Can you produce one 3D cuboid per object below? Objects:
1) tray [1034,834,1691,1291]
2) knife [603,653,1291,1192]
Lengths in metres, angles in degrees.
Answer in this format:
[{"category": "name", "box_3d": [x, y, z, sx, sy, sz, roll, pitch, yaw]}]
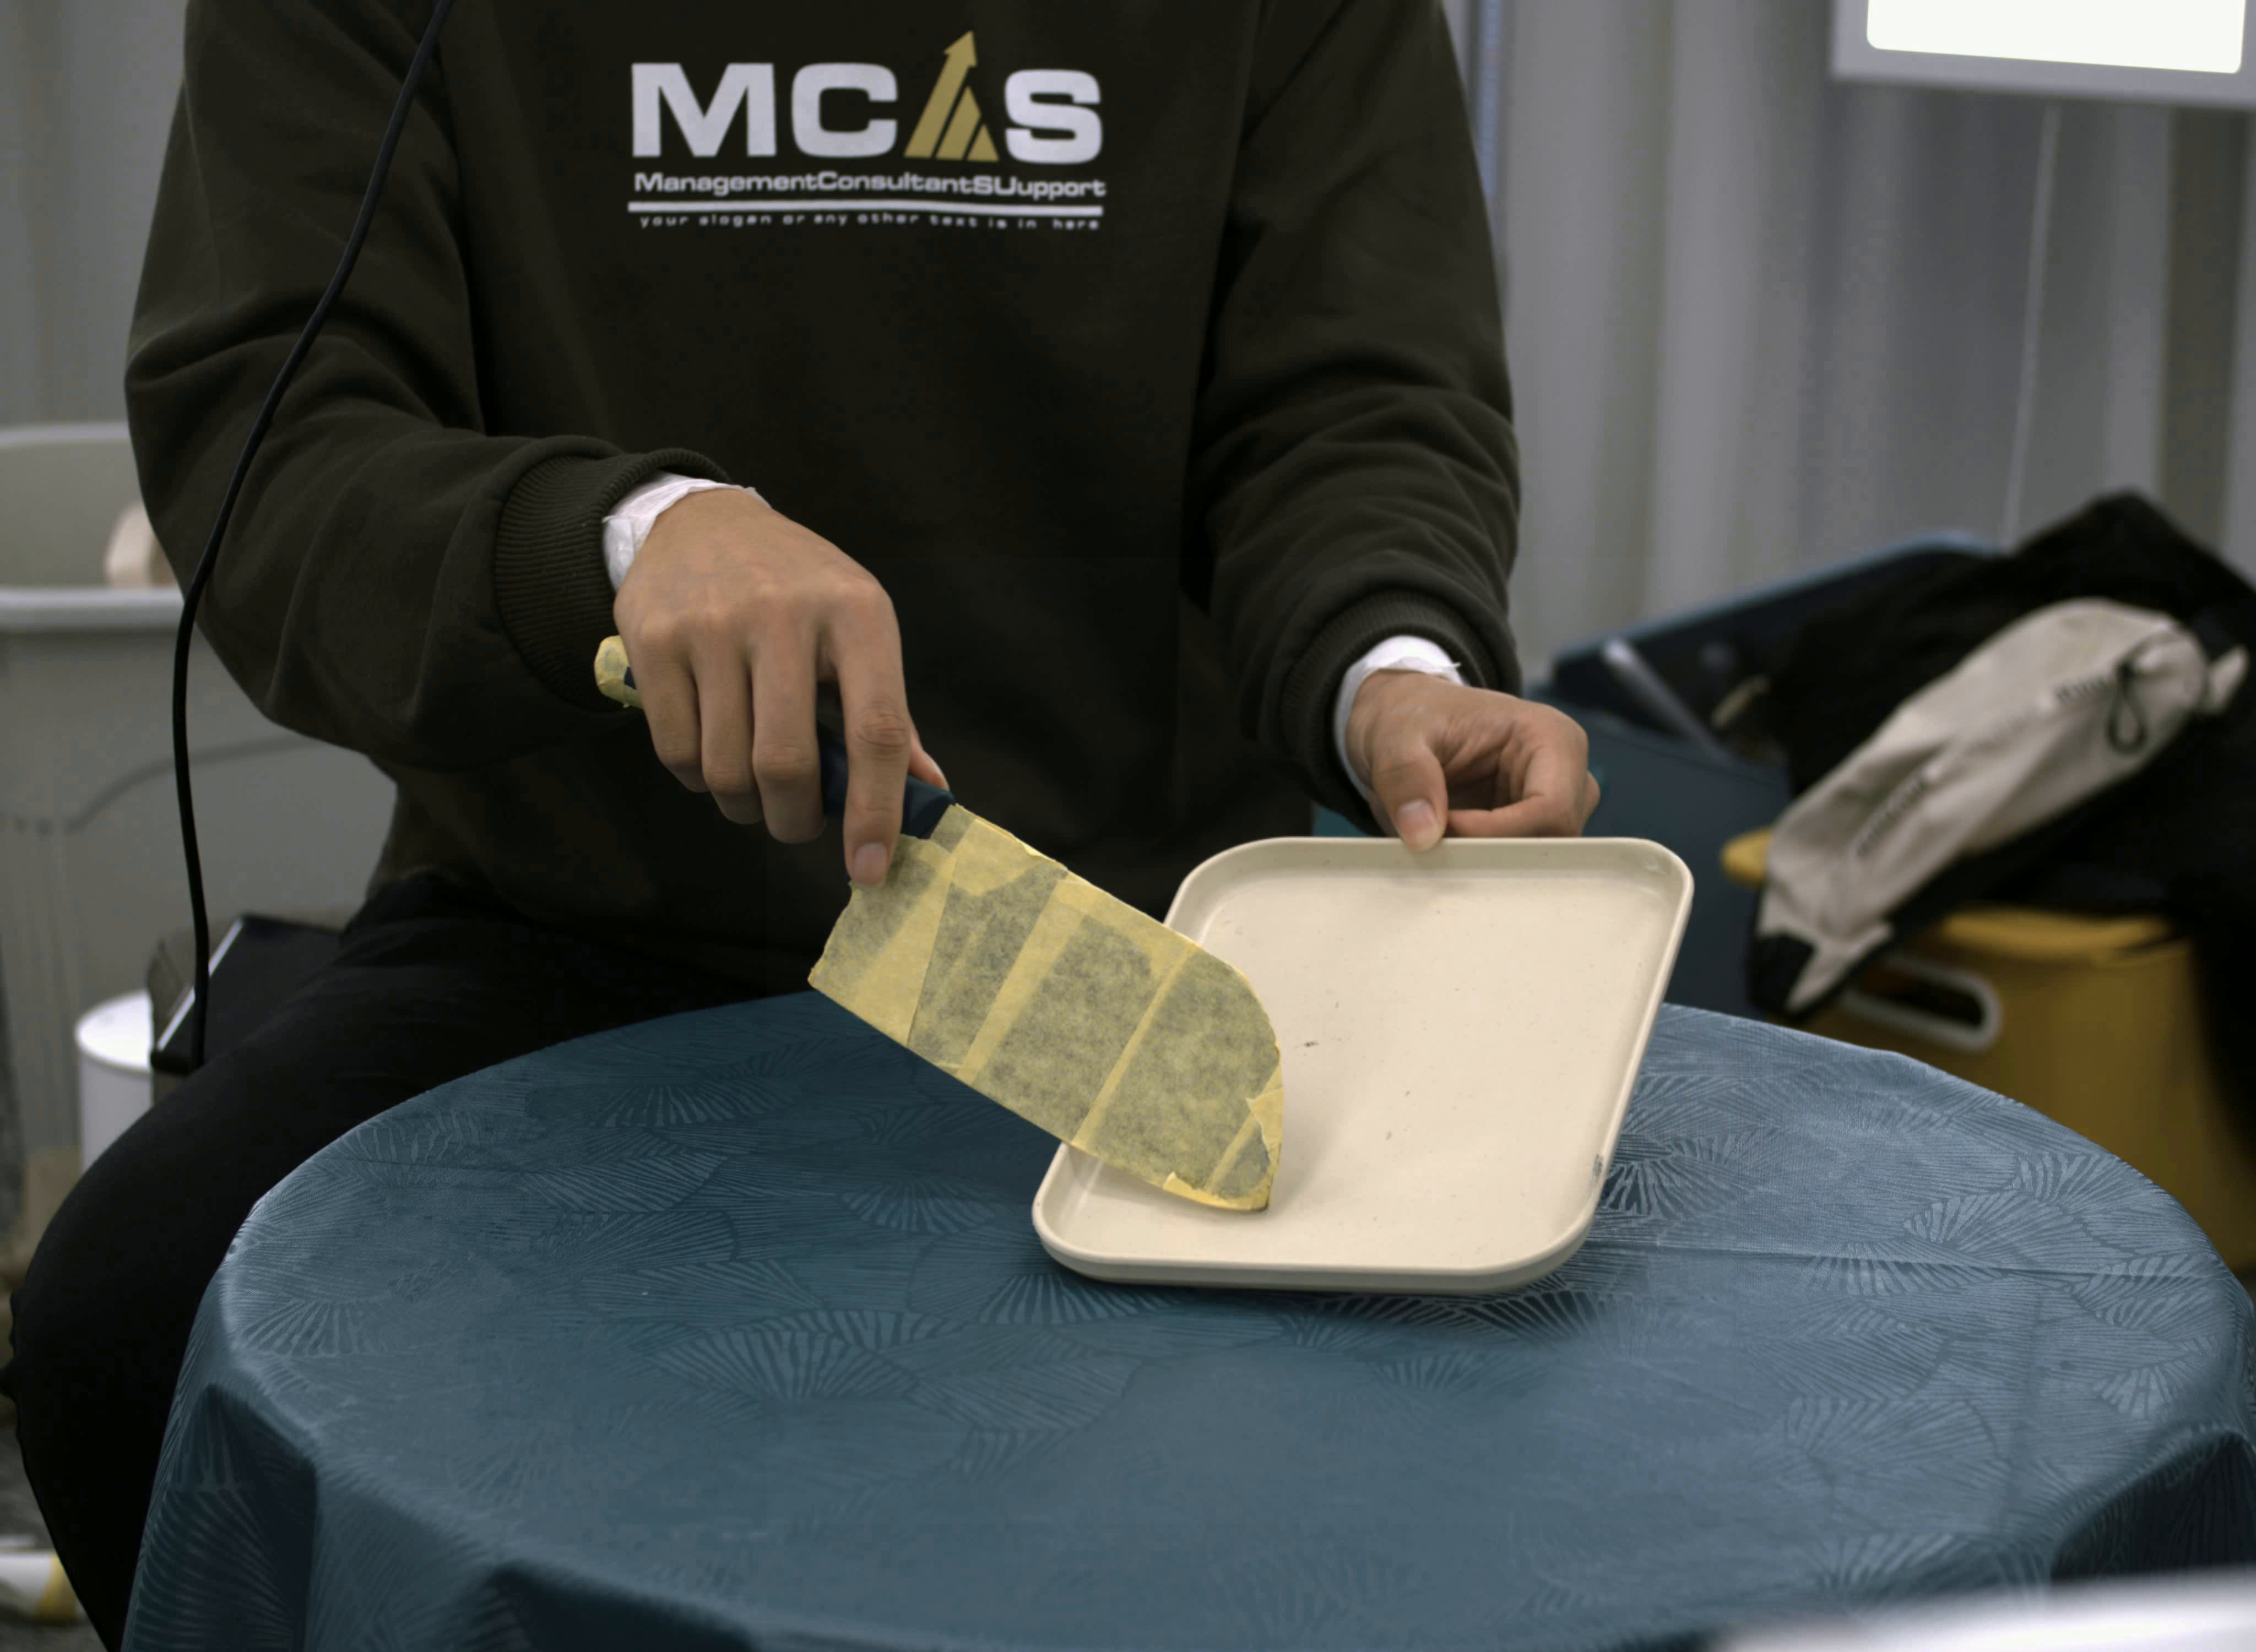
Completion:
[{"category": "tray", "box_3d": [0.076, 0.071, 1.617, 0.170, 0.018, 0.238, 0, 31, 17]}, {"category": "knife", "box_3d": [-0.062, 0.027, 1.620, 0.286, 0.081, 0.027, 33, -1, 26]}]
